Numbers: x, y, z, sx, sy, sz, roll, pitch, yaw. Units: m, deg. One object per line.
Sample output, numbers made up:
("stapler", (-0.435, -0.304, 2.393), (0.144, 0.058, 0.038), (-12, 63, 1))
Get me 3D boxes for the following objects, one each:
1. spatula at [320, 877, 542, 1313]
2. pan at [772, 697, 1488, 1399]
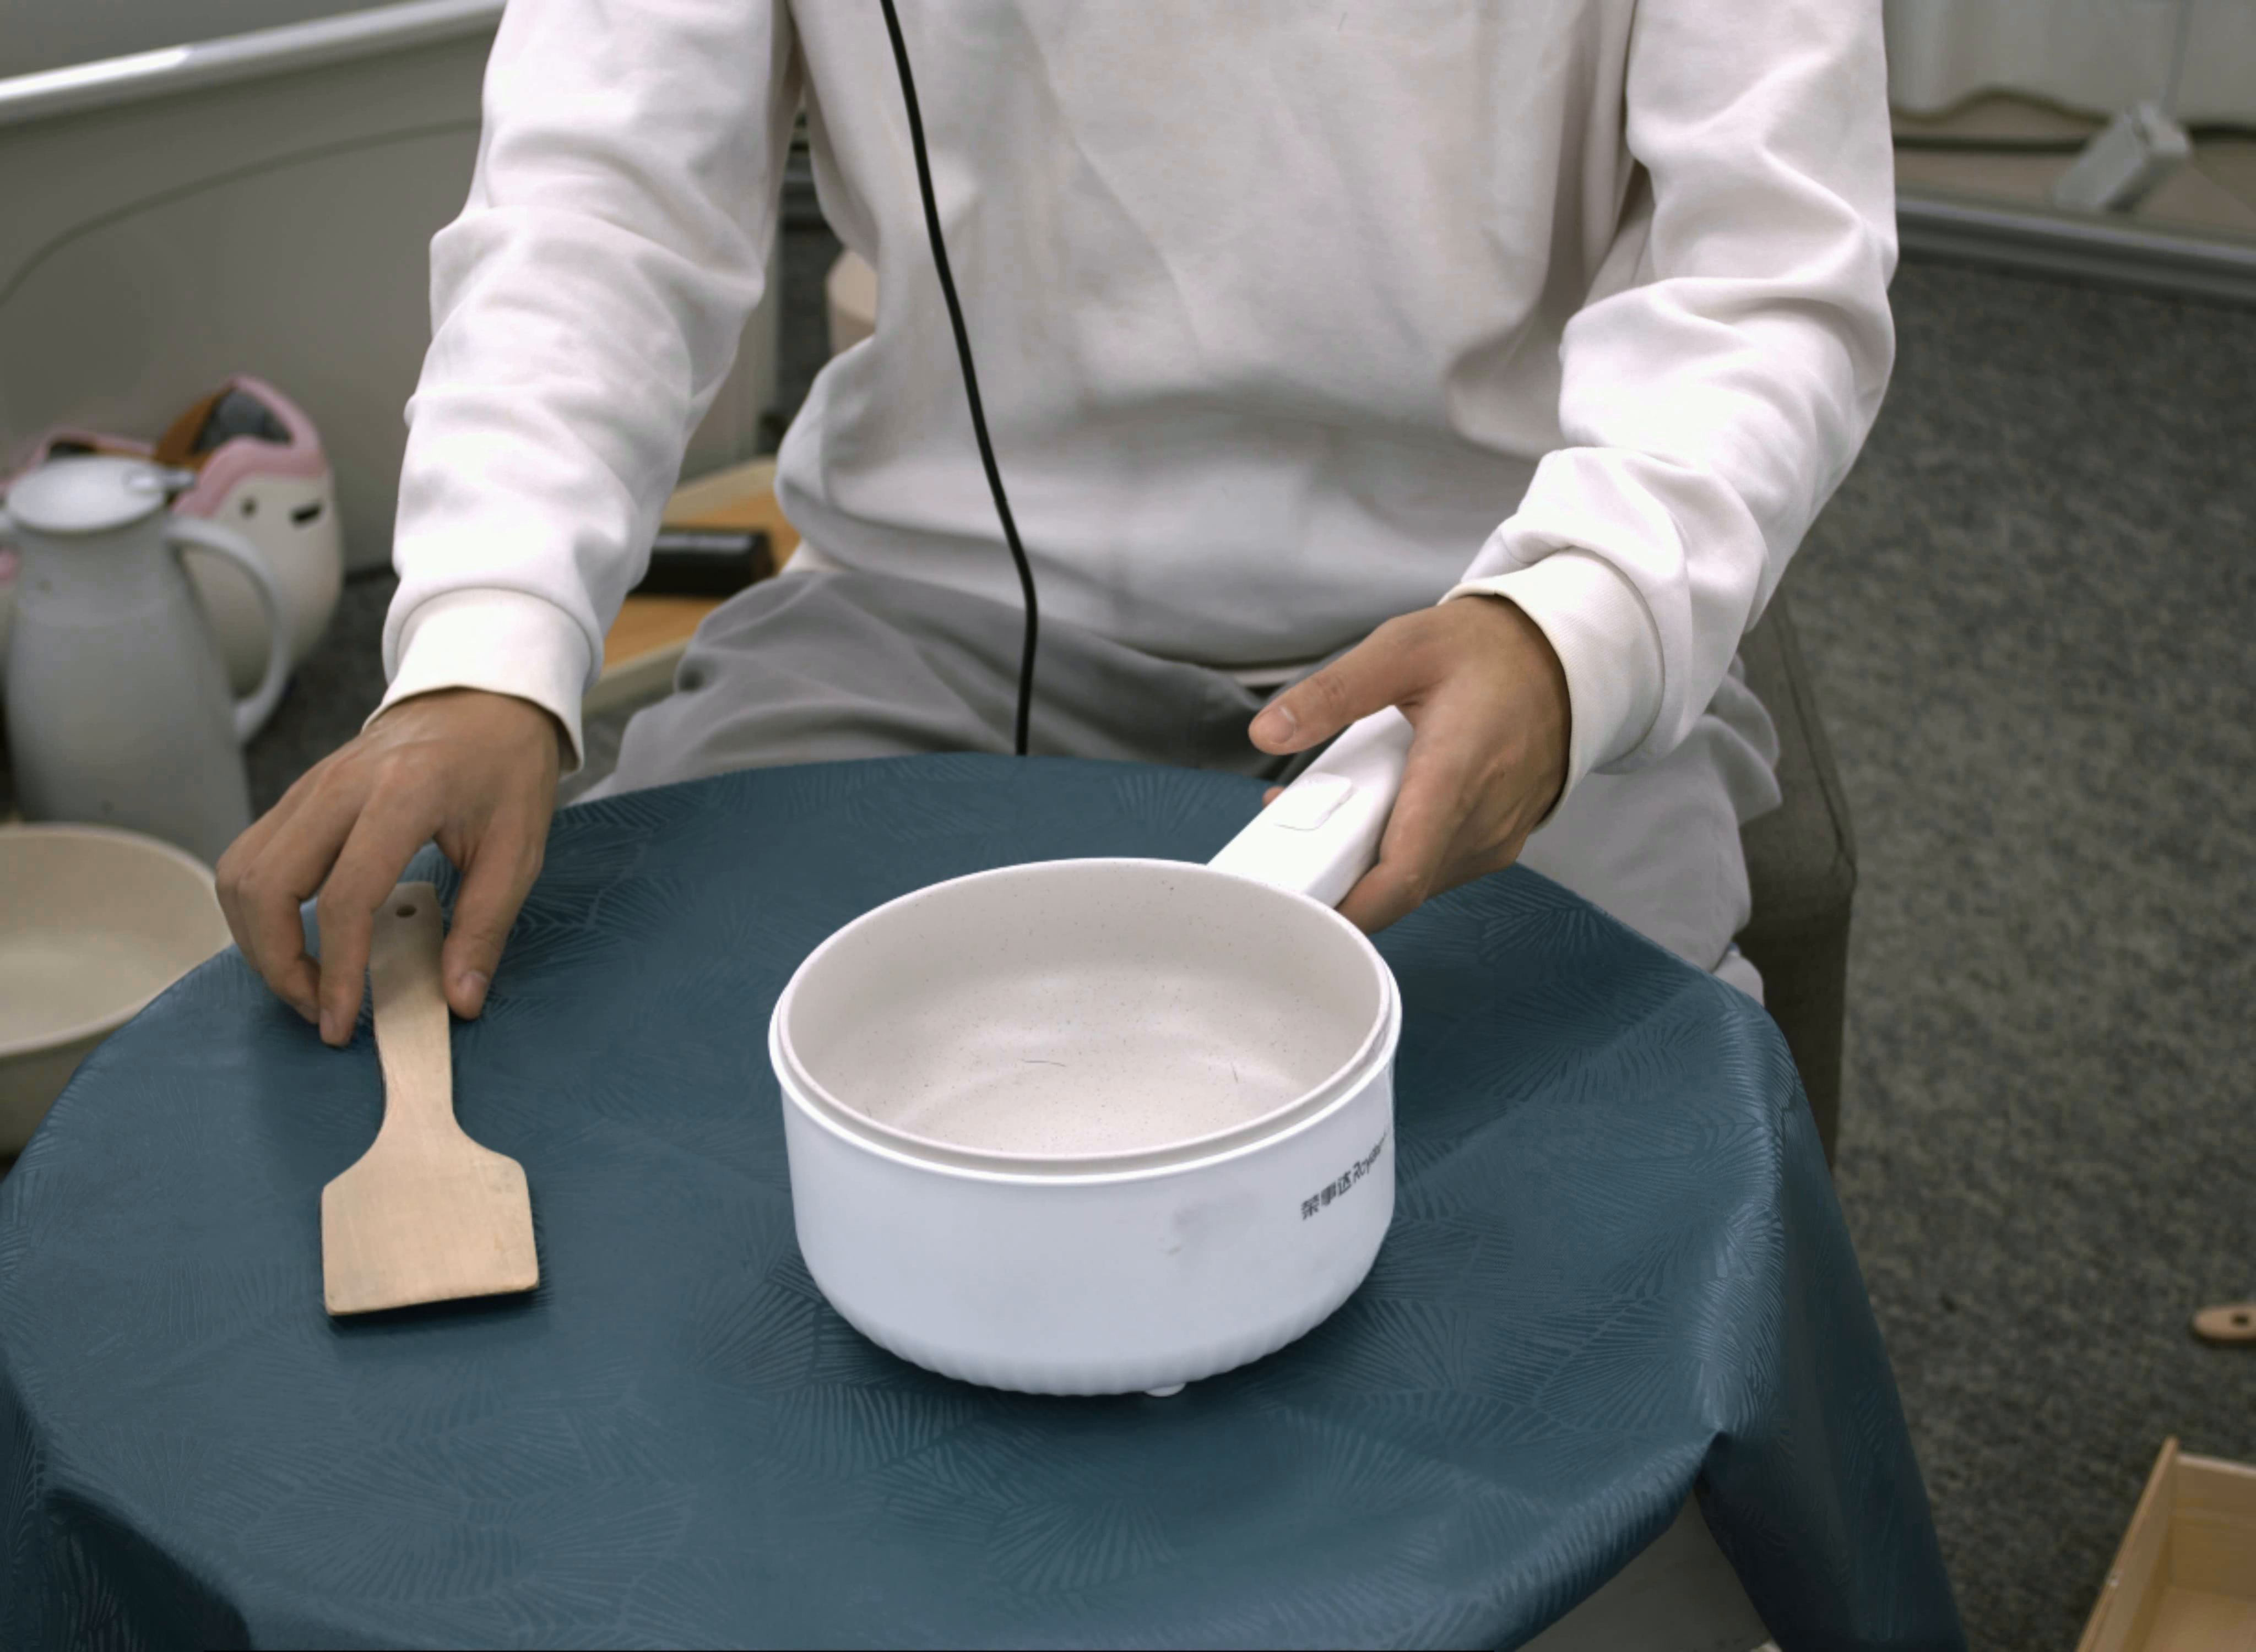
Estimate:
("spatula", (-0.245, 0.089, 1.939), (0.072, 0.010, 0.297), (-8, 28, -6))
("pan", (0.025, 0.070, 1.861), (0.200, 0.101, 0.360), (10, 28, 26))
